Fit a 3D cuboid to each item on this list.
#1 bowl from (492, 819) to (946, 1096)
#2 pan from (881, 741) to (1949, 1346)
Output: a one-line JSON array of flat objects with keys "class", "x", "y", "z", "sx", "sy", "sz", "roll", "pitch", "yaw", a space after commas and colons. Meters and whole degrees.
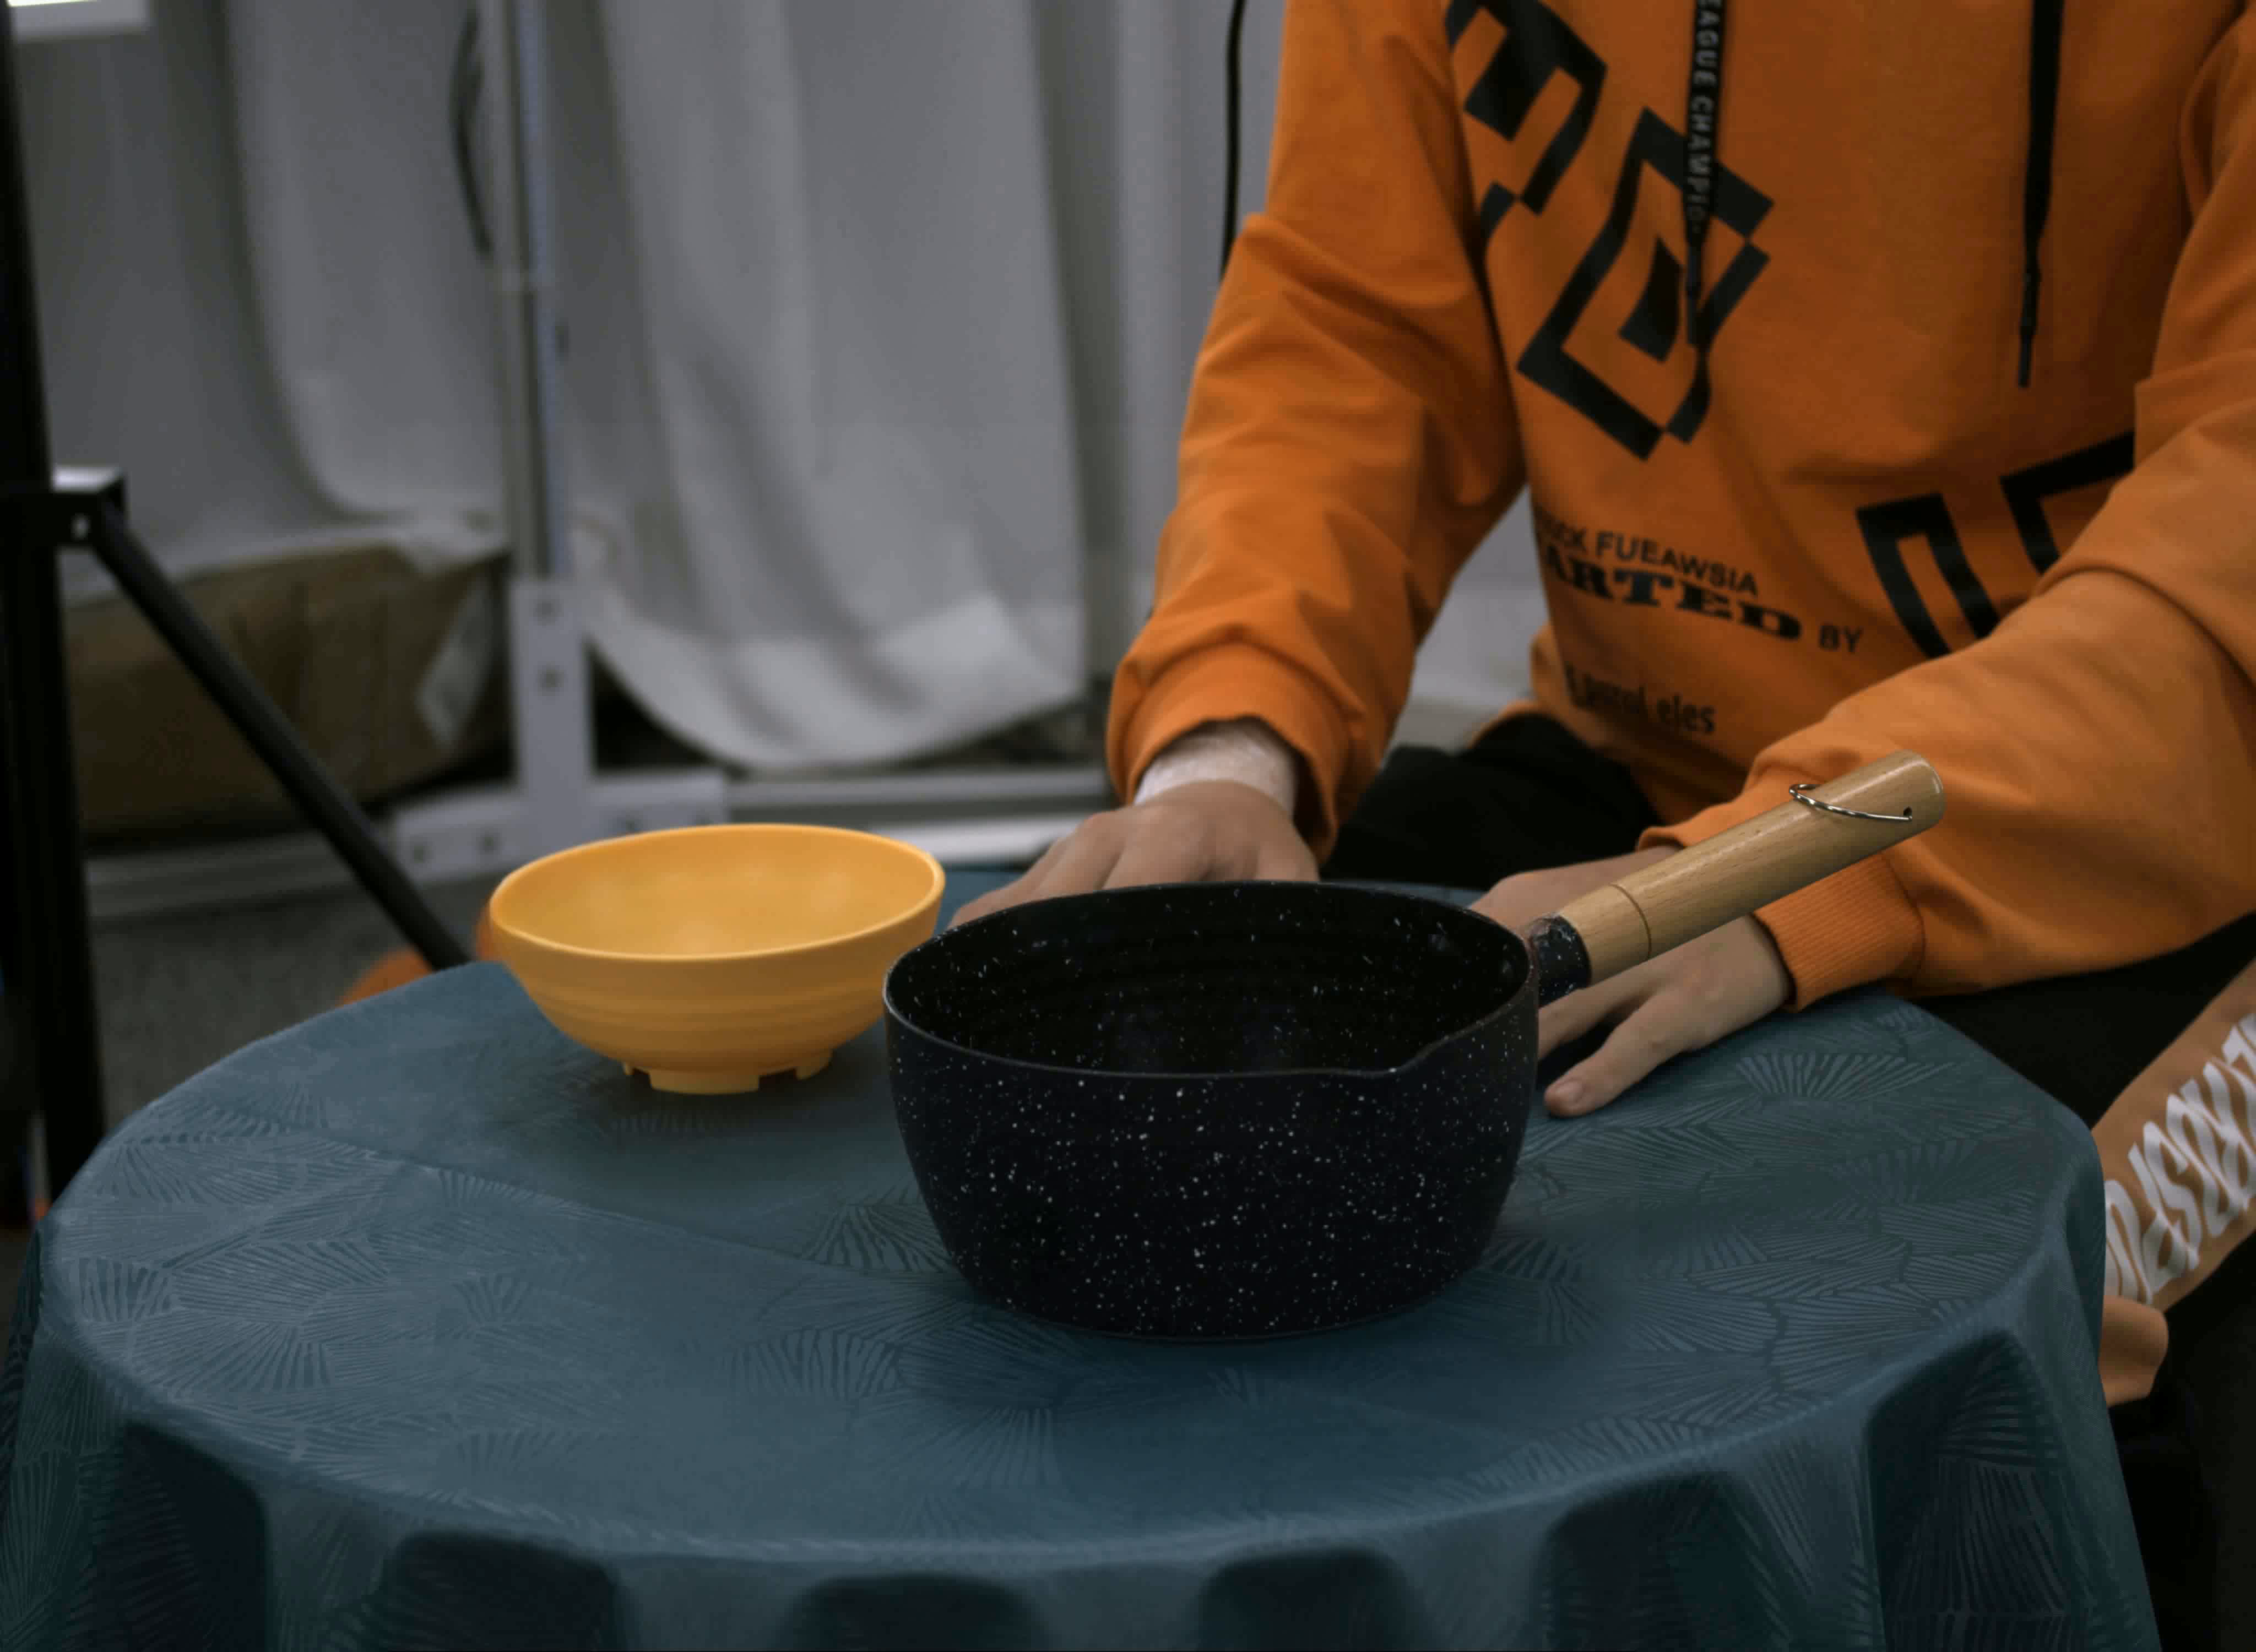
[{"class": "bowl", "x": -0.128, "y": 0.047, "z": 1.689, "sx": 0.144, "sy": 0.060, "sz": 0.146, "roll": -2, "pitch": 17, "yaw": -1}, {"class": "pan", "x": 0.093, "y": 0.057, "z": 1.525, "sx": 0.336, "sy": 0.108, "sz": 0.212, "roll": -12, "pitch": 17, "yaw": -26}]
